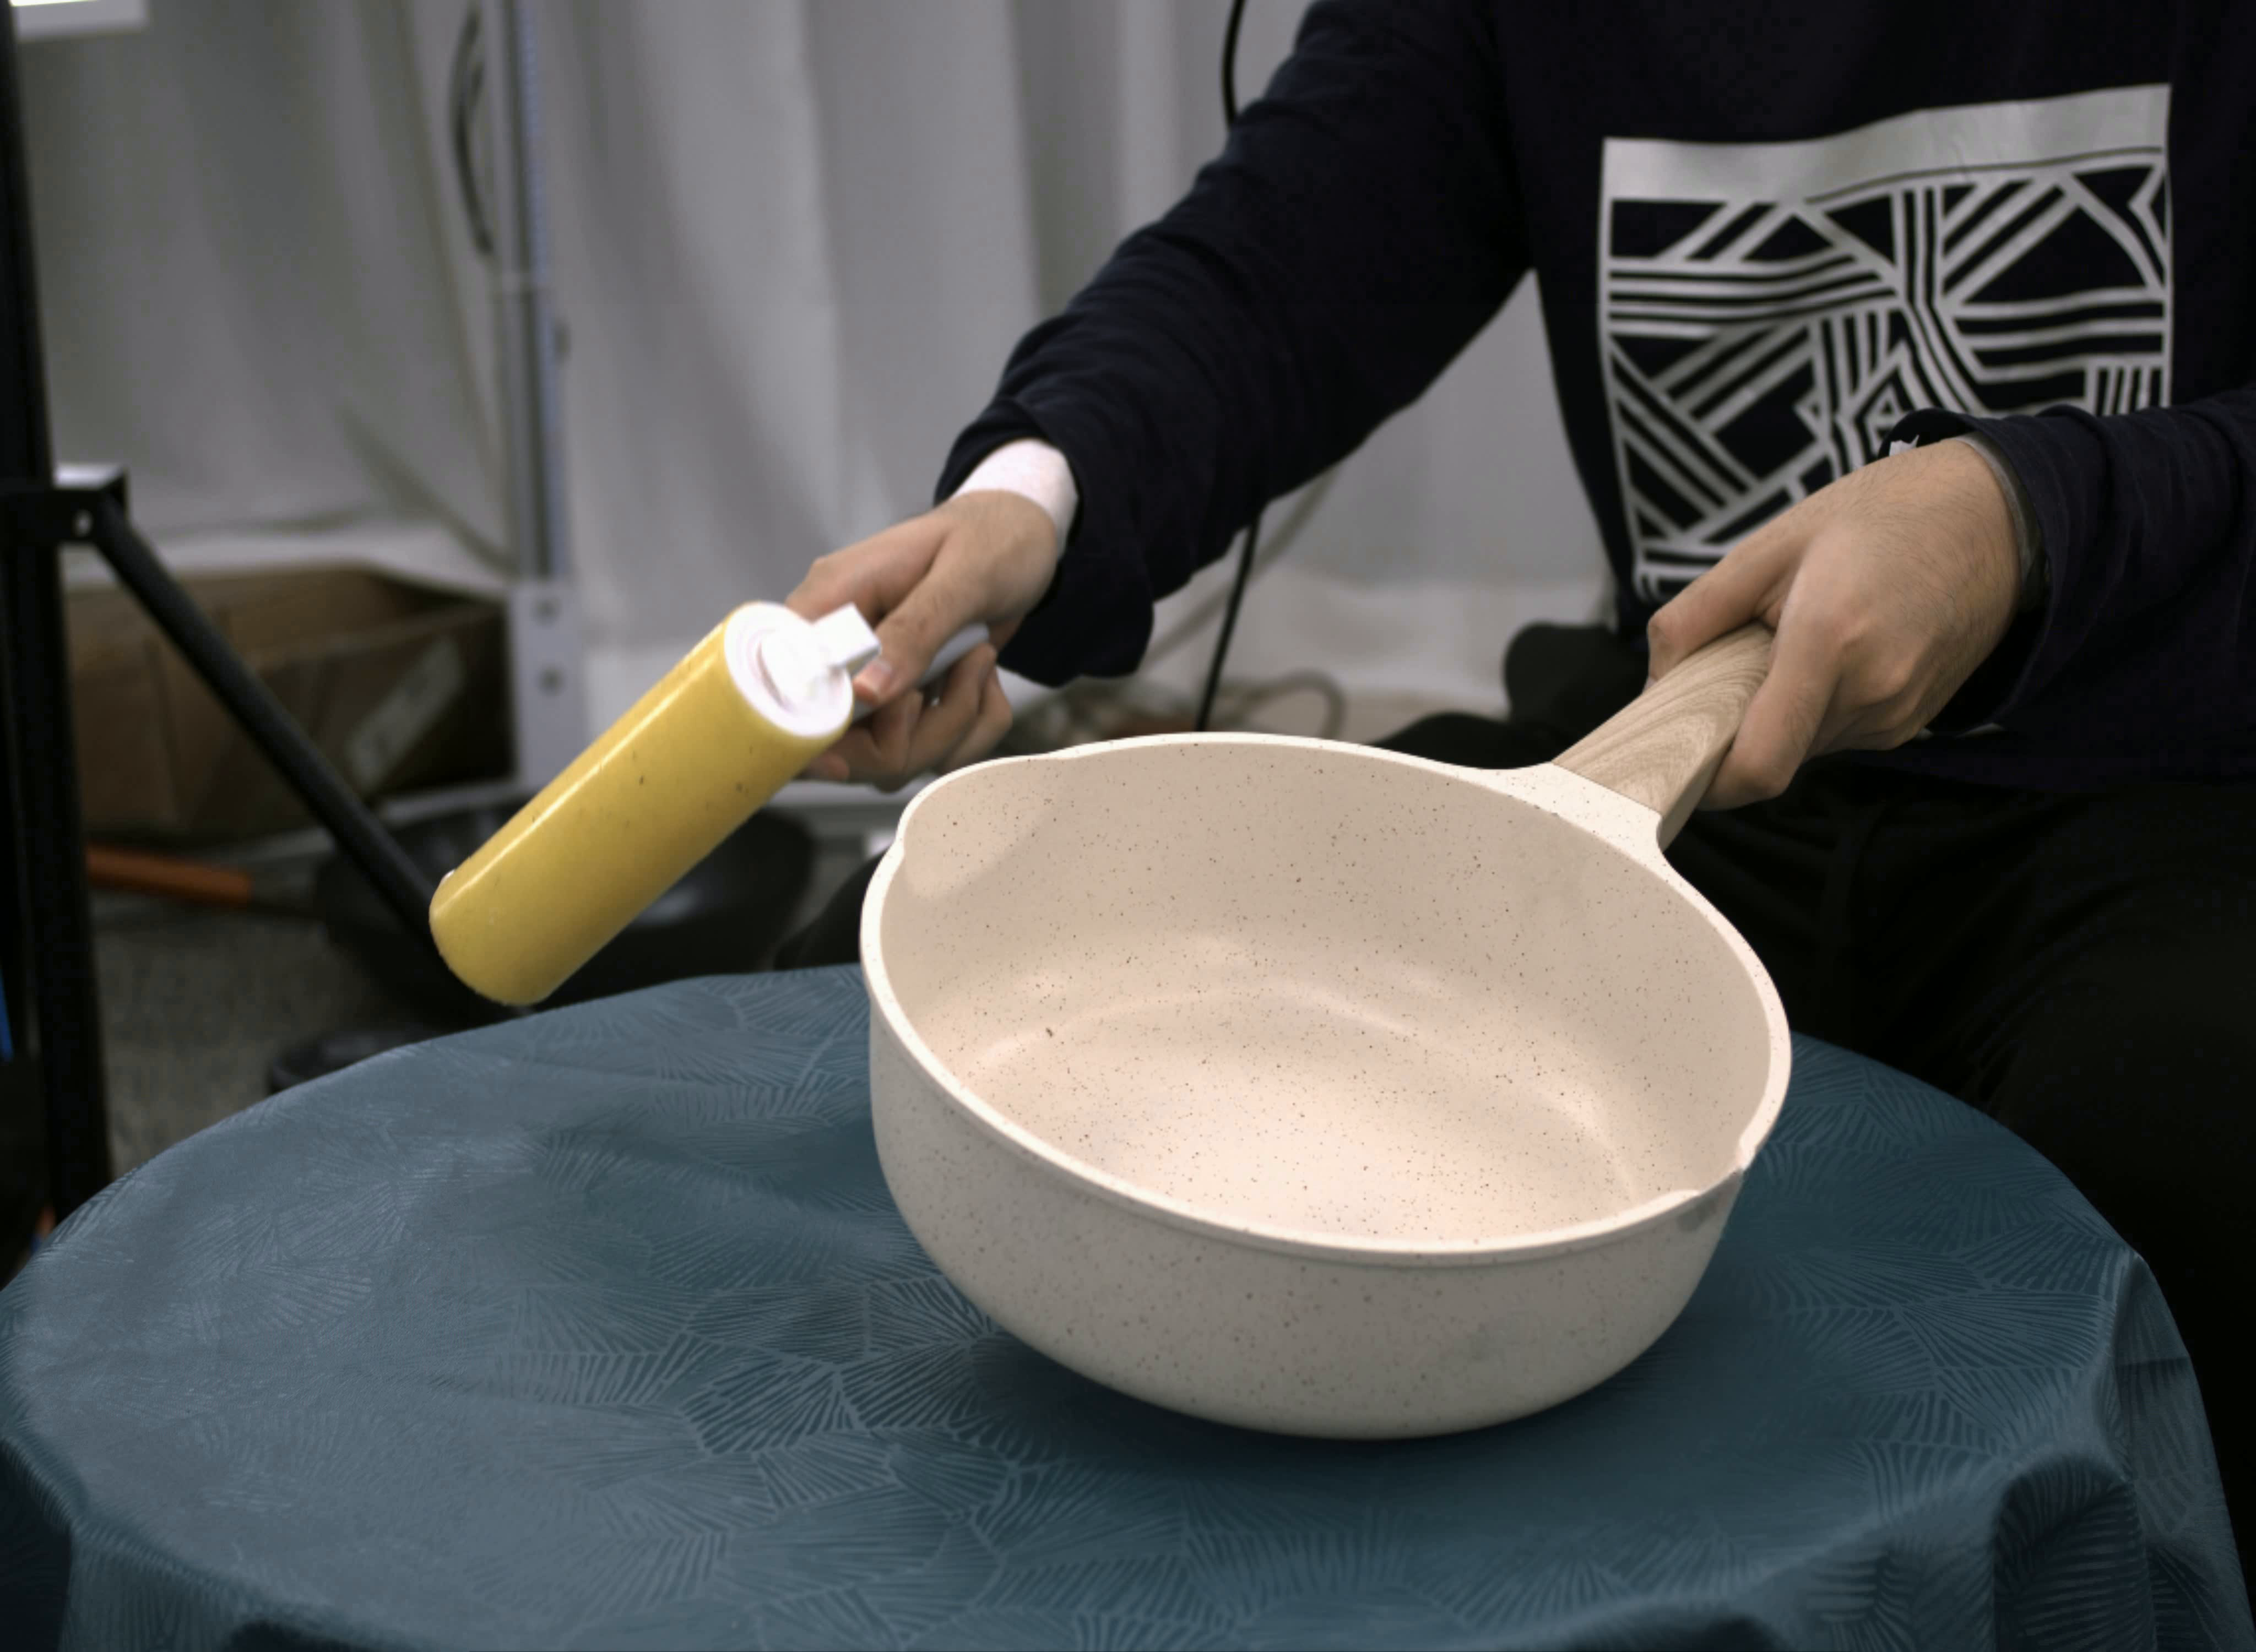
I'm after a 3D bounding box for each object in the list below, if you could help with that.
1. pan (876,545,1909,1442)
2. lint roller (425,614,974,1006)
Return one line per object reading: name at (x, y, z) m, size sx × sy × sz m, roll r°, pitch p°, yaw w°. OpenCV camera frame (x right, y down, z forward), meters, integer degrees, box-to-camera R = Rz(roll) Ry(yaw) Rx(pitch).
pan at (0.106, 0.036, 1.491) m, size 0.268 × 0.102 × 0.427 m, roll 23°, pitch 34°, yaw 28°
lint roller at (-0.111, -0.031, 1.634) m, size 0.176 × 0.051 × 0.189 m, roll -39°, pitch 2°, yaw 39°
